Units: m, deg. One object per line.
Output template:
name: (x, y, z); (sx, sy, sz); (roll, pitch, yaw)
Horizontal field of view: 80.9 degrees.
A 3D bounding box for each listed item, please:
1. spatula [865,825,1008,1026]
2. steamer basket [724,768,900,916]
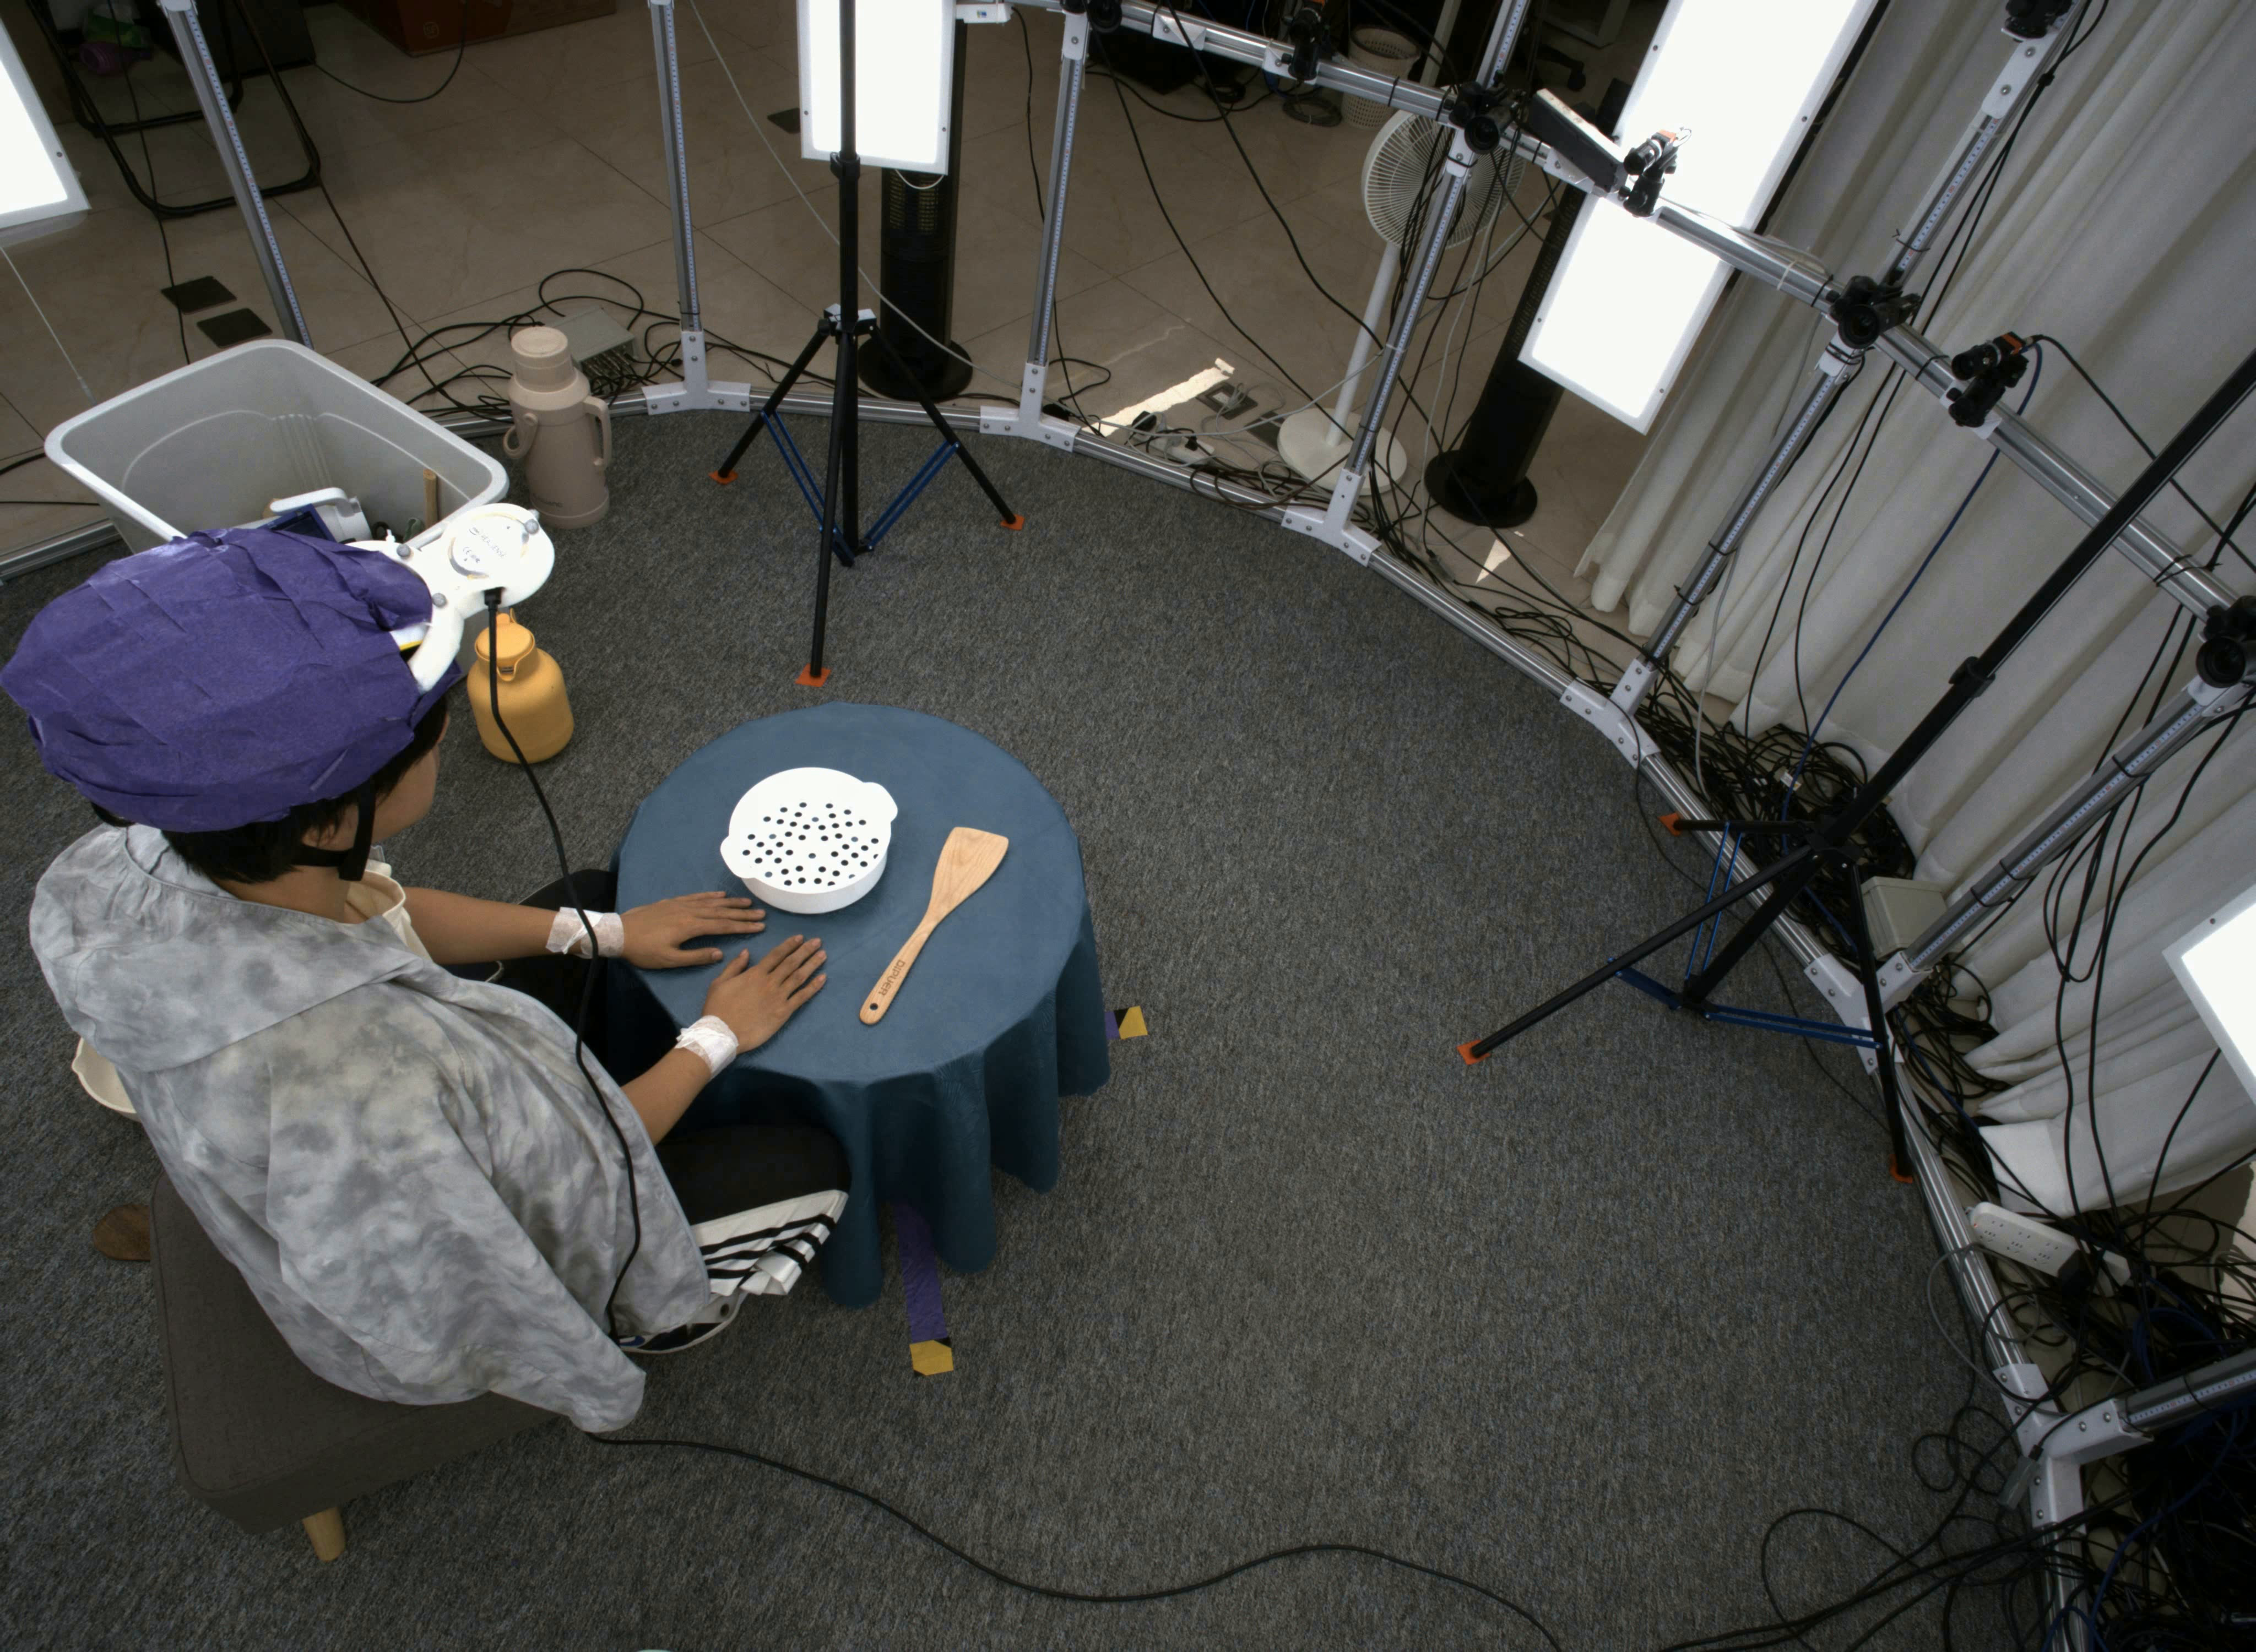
spatula: (-0.253, 0.120, 1.668); (0.079, 0.017, 0.325); (23, 52, 5)
steamer basket: (-0.403, 0.020, 1.675); (0.231, 0.071, 0.196); (-25, 61, -27)
